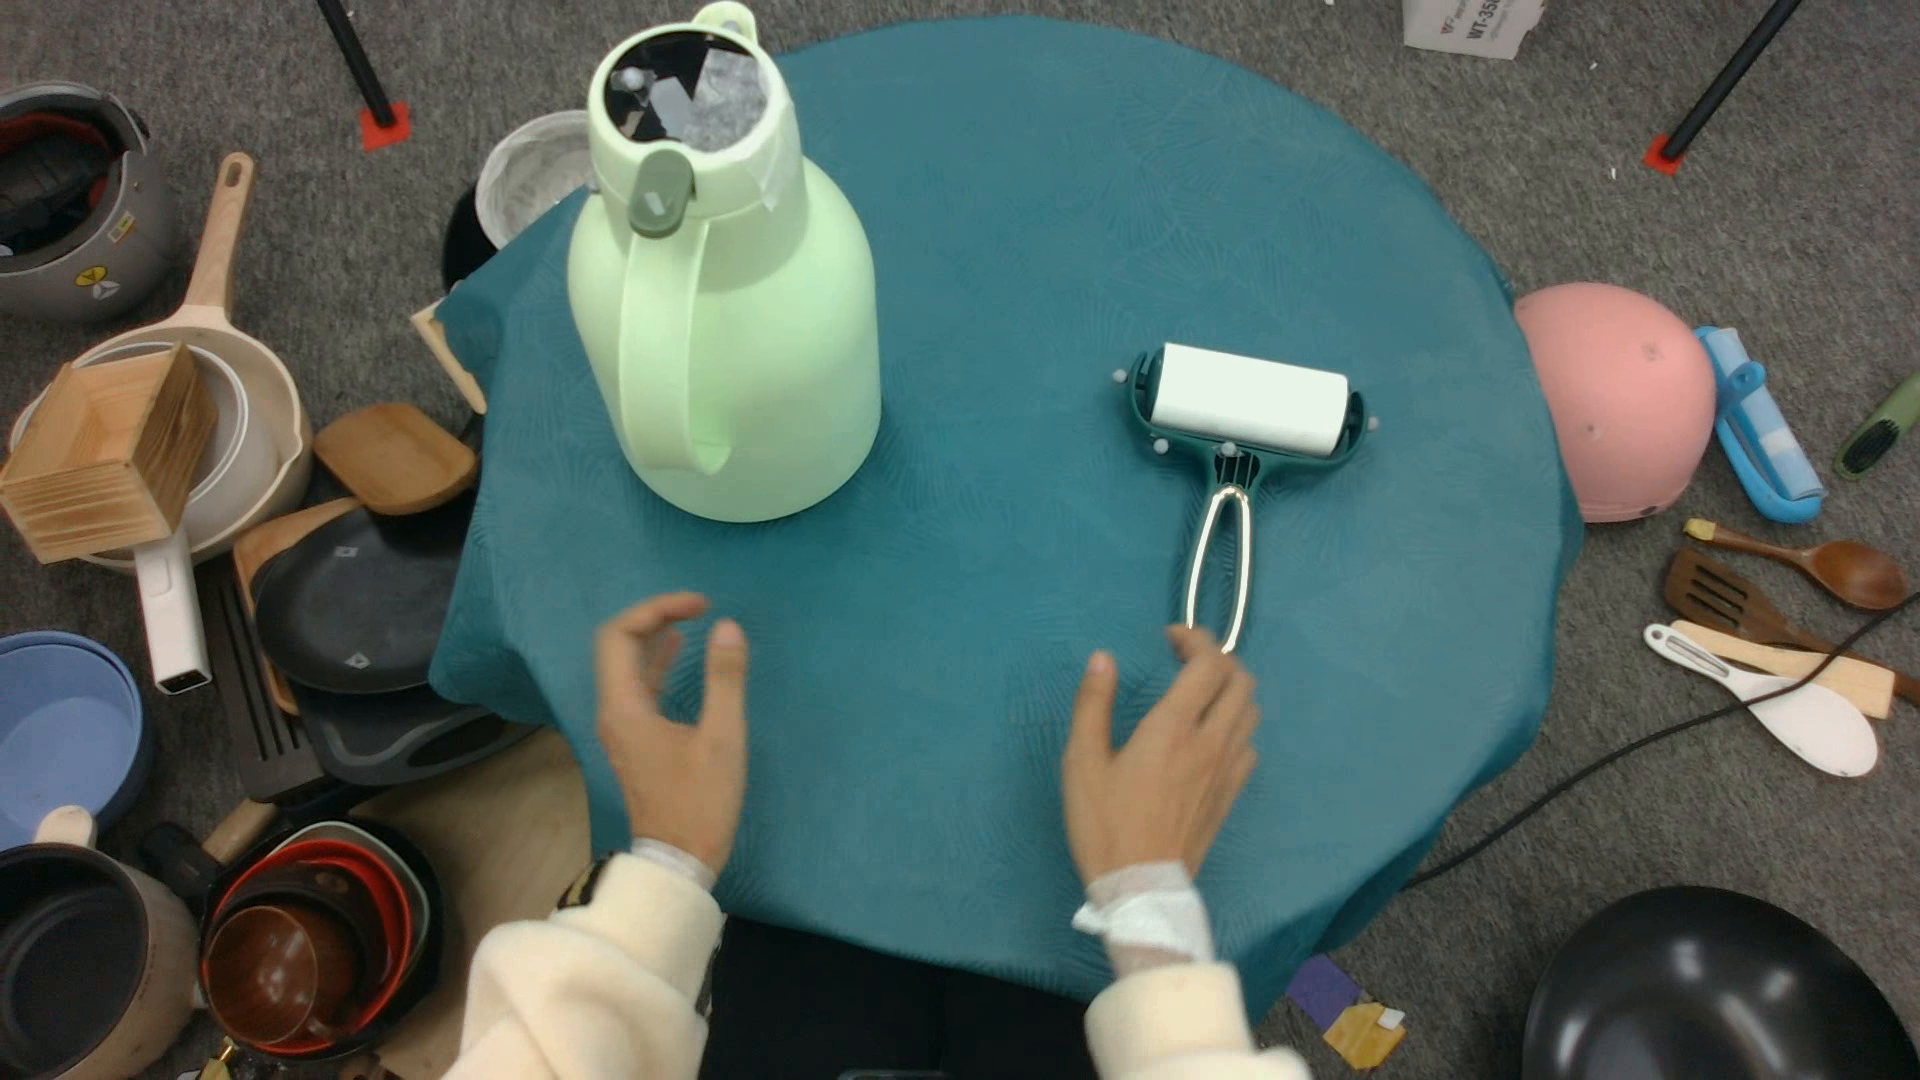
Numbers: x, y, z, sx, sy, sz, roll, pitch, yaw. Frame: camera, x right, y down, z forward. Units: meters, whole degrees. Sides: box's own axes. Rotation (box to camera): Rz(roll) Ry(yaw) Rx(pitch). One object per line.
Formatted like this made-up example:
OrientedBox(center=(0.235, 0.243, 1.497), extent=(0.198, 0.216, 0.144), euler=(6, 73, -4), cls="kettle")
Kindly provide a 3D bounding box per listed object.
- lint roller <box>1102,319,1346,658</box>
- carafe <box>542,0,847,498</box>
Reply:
OrientedBox(center=(0.131, -0.028, 0.731), extent=(0.134, 0.048, 0.181), euler=(11, 65, 2), cls="lint roller")
OrientedBox(center=(-0.126, -0.117, 0.642), extent=(0.144, 0.256, 0.187), euler=(9, 69, -2), cls="carafe")
